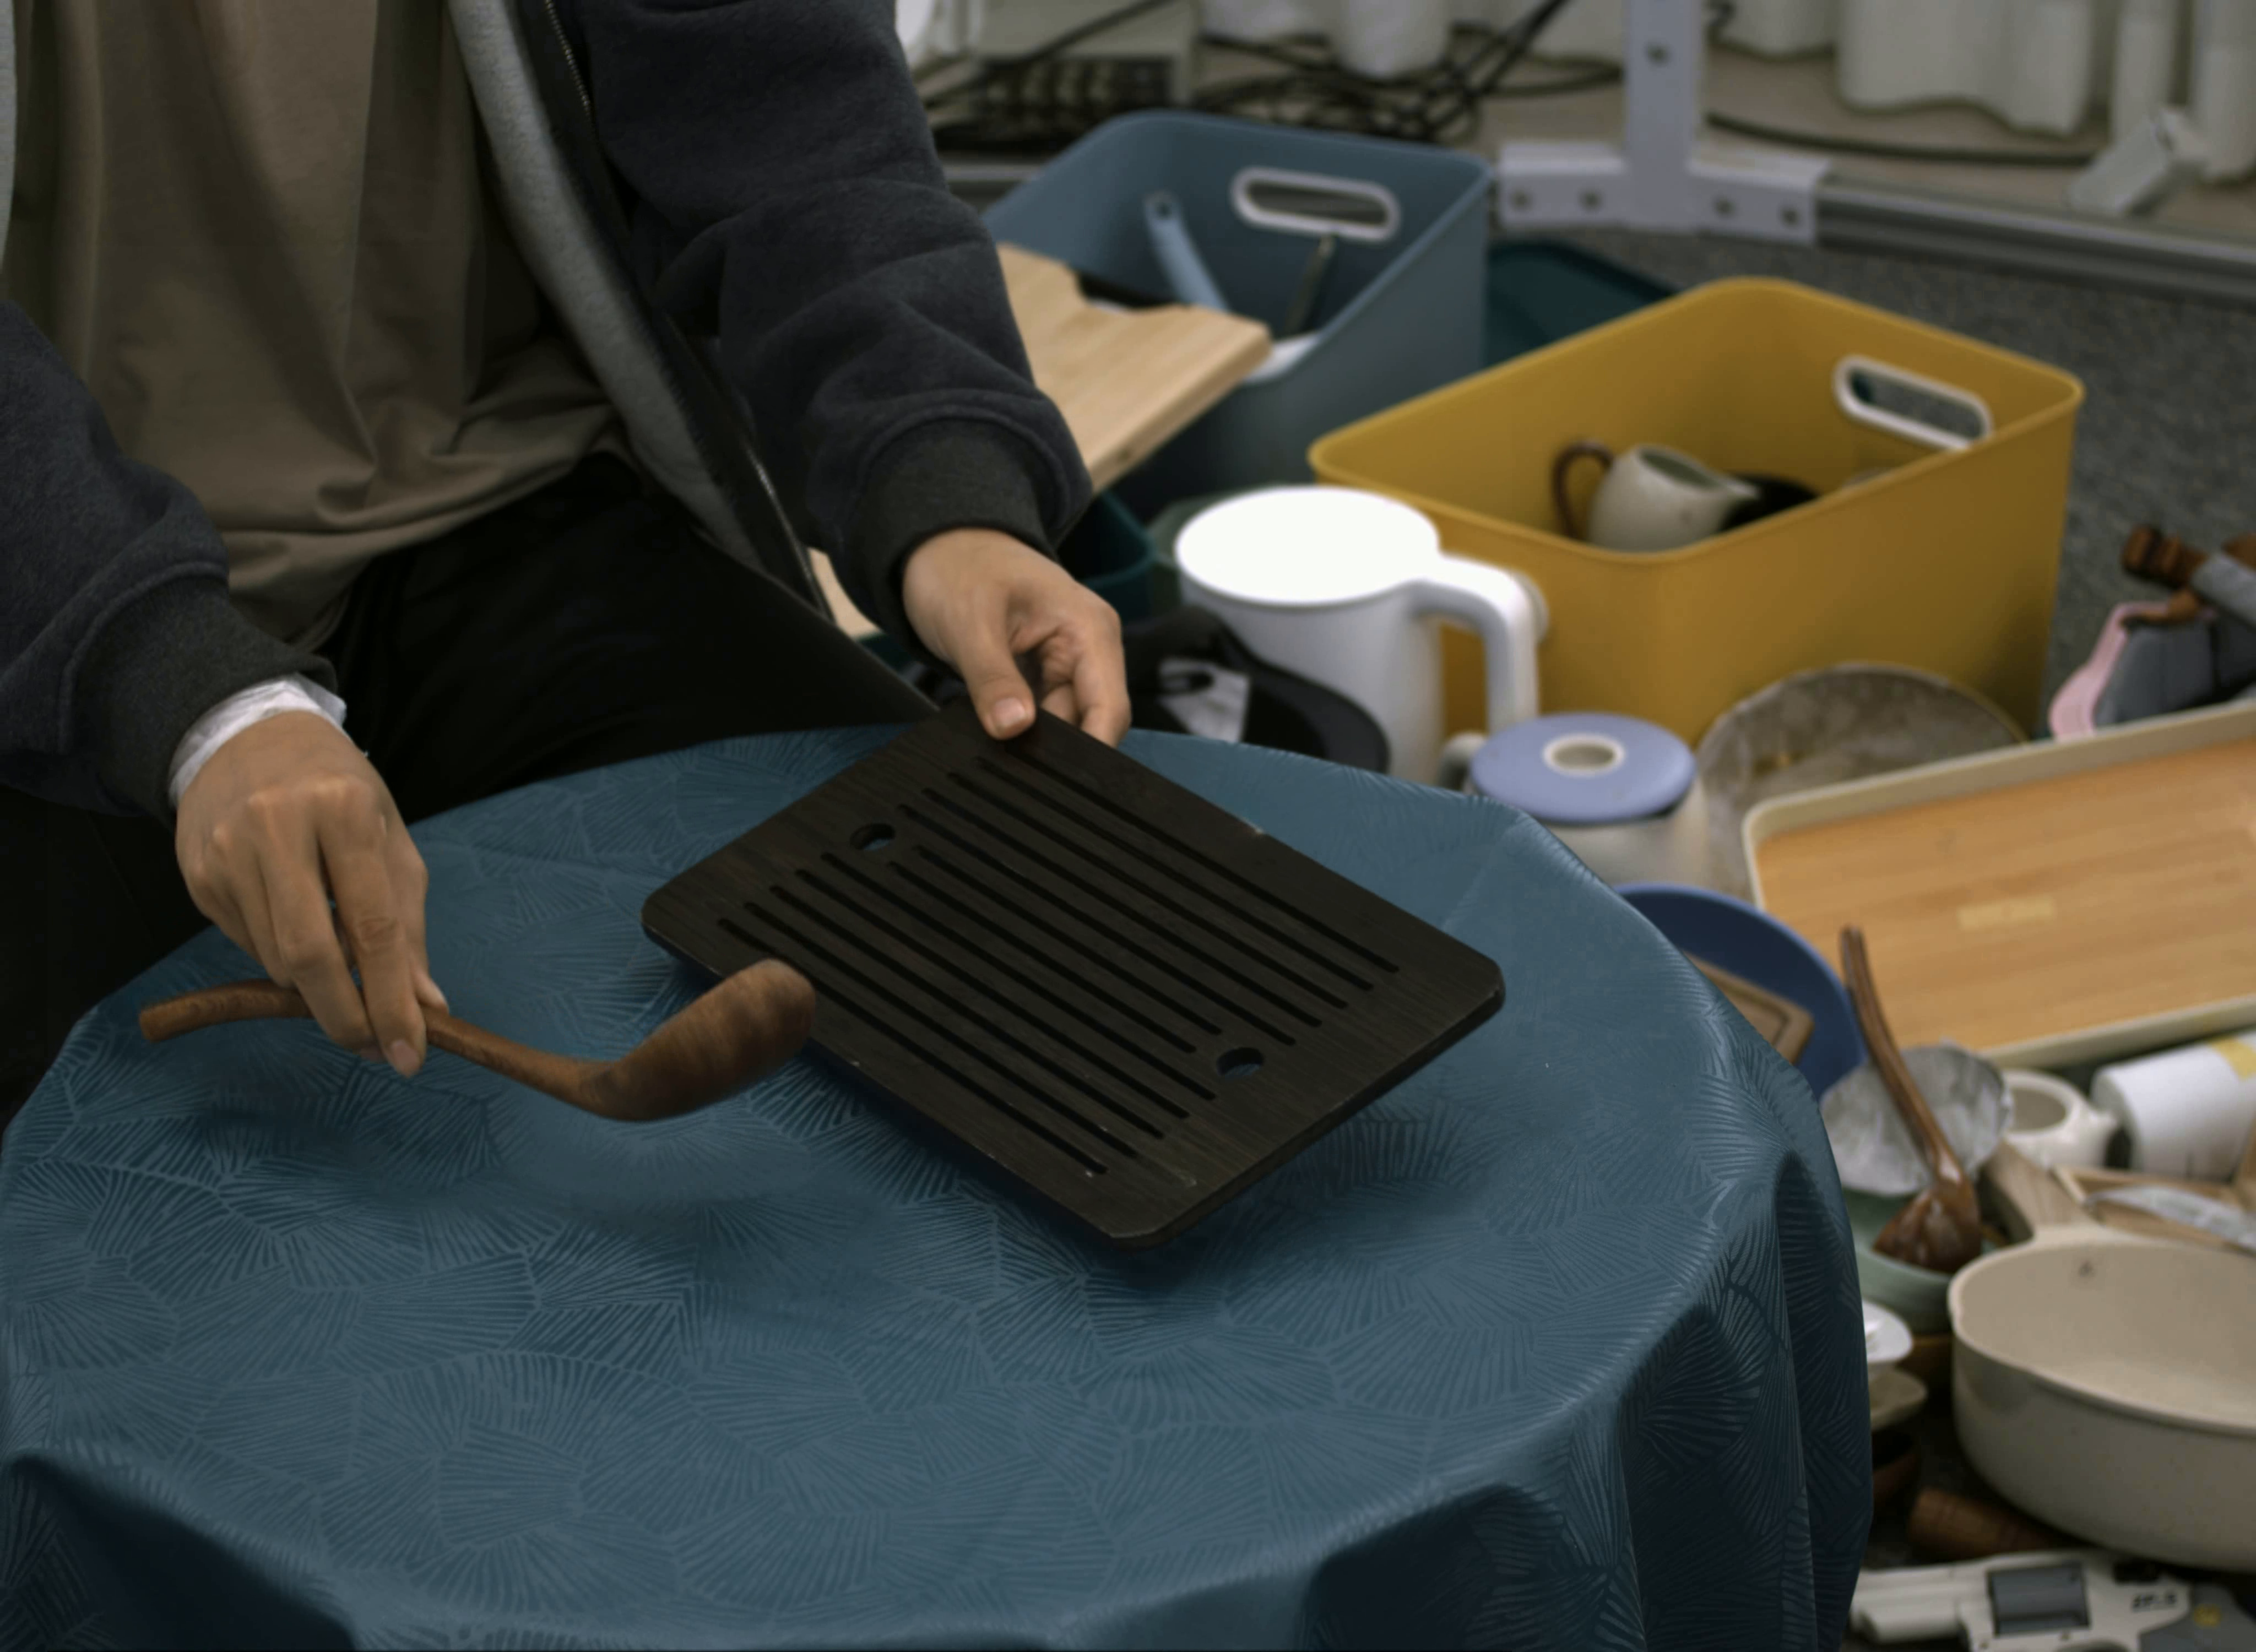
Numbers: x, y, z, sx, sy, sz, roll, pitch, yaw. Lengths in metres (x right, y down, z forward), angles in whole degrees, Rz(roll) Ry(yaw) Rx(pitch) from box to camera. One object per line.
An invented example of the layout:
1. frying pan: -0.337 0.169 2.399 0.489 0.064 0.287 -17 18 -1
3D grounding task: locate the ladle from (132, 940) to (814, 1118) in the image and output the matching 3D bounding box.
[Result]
1. ladle: -0.222 0.056 1.872 0.258 0.065 0.077 7 6 26

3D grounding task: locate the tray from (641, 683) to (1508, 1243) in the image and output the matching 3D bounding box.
1. tray: -0.023 0.043 1.936 0.172 0.018 0.306 -33 37 -24
